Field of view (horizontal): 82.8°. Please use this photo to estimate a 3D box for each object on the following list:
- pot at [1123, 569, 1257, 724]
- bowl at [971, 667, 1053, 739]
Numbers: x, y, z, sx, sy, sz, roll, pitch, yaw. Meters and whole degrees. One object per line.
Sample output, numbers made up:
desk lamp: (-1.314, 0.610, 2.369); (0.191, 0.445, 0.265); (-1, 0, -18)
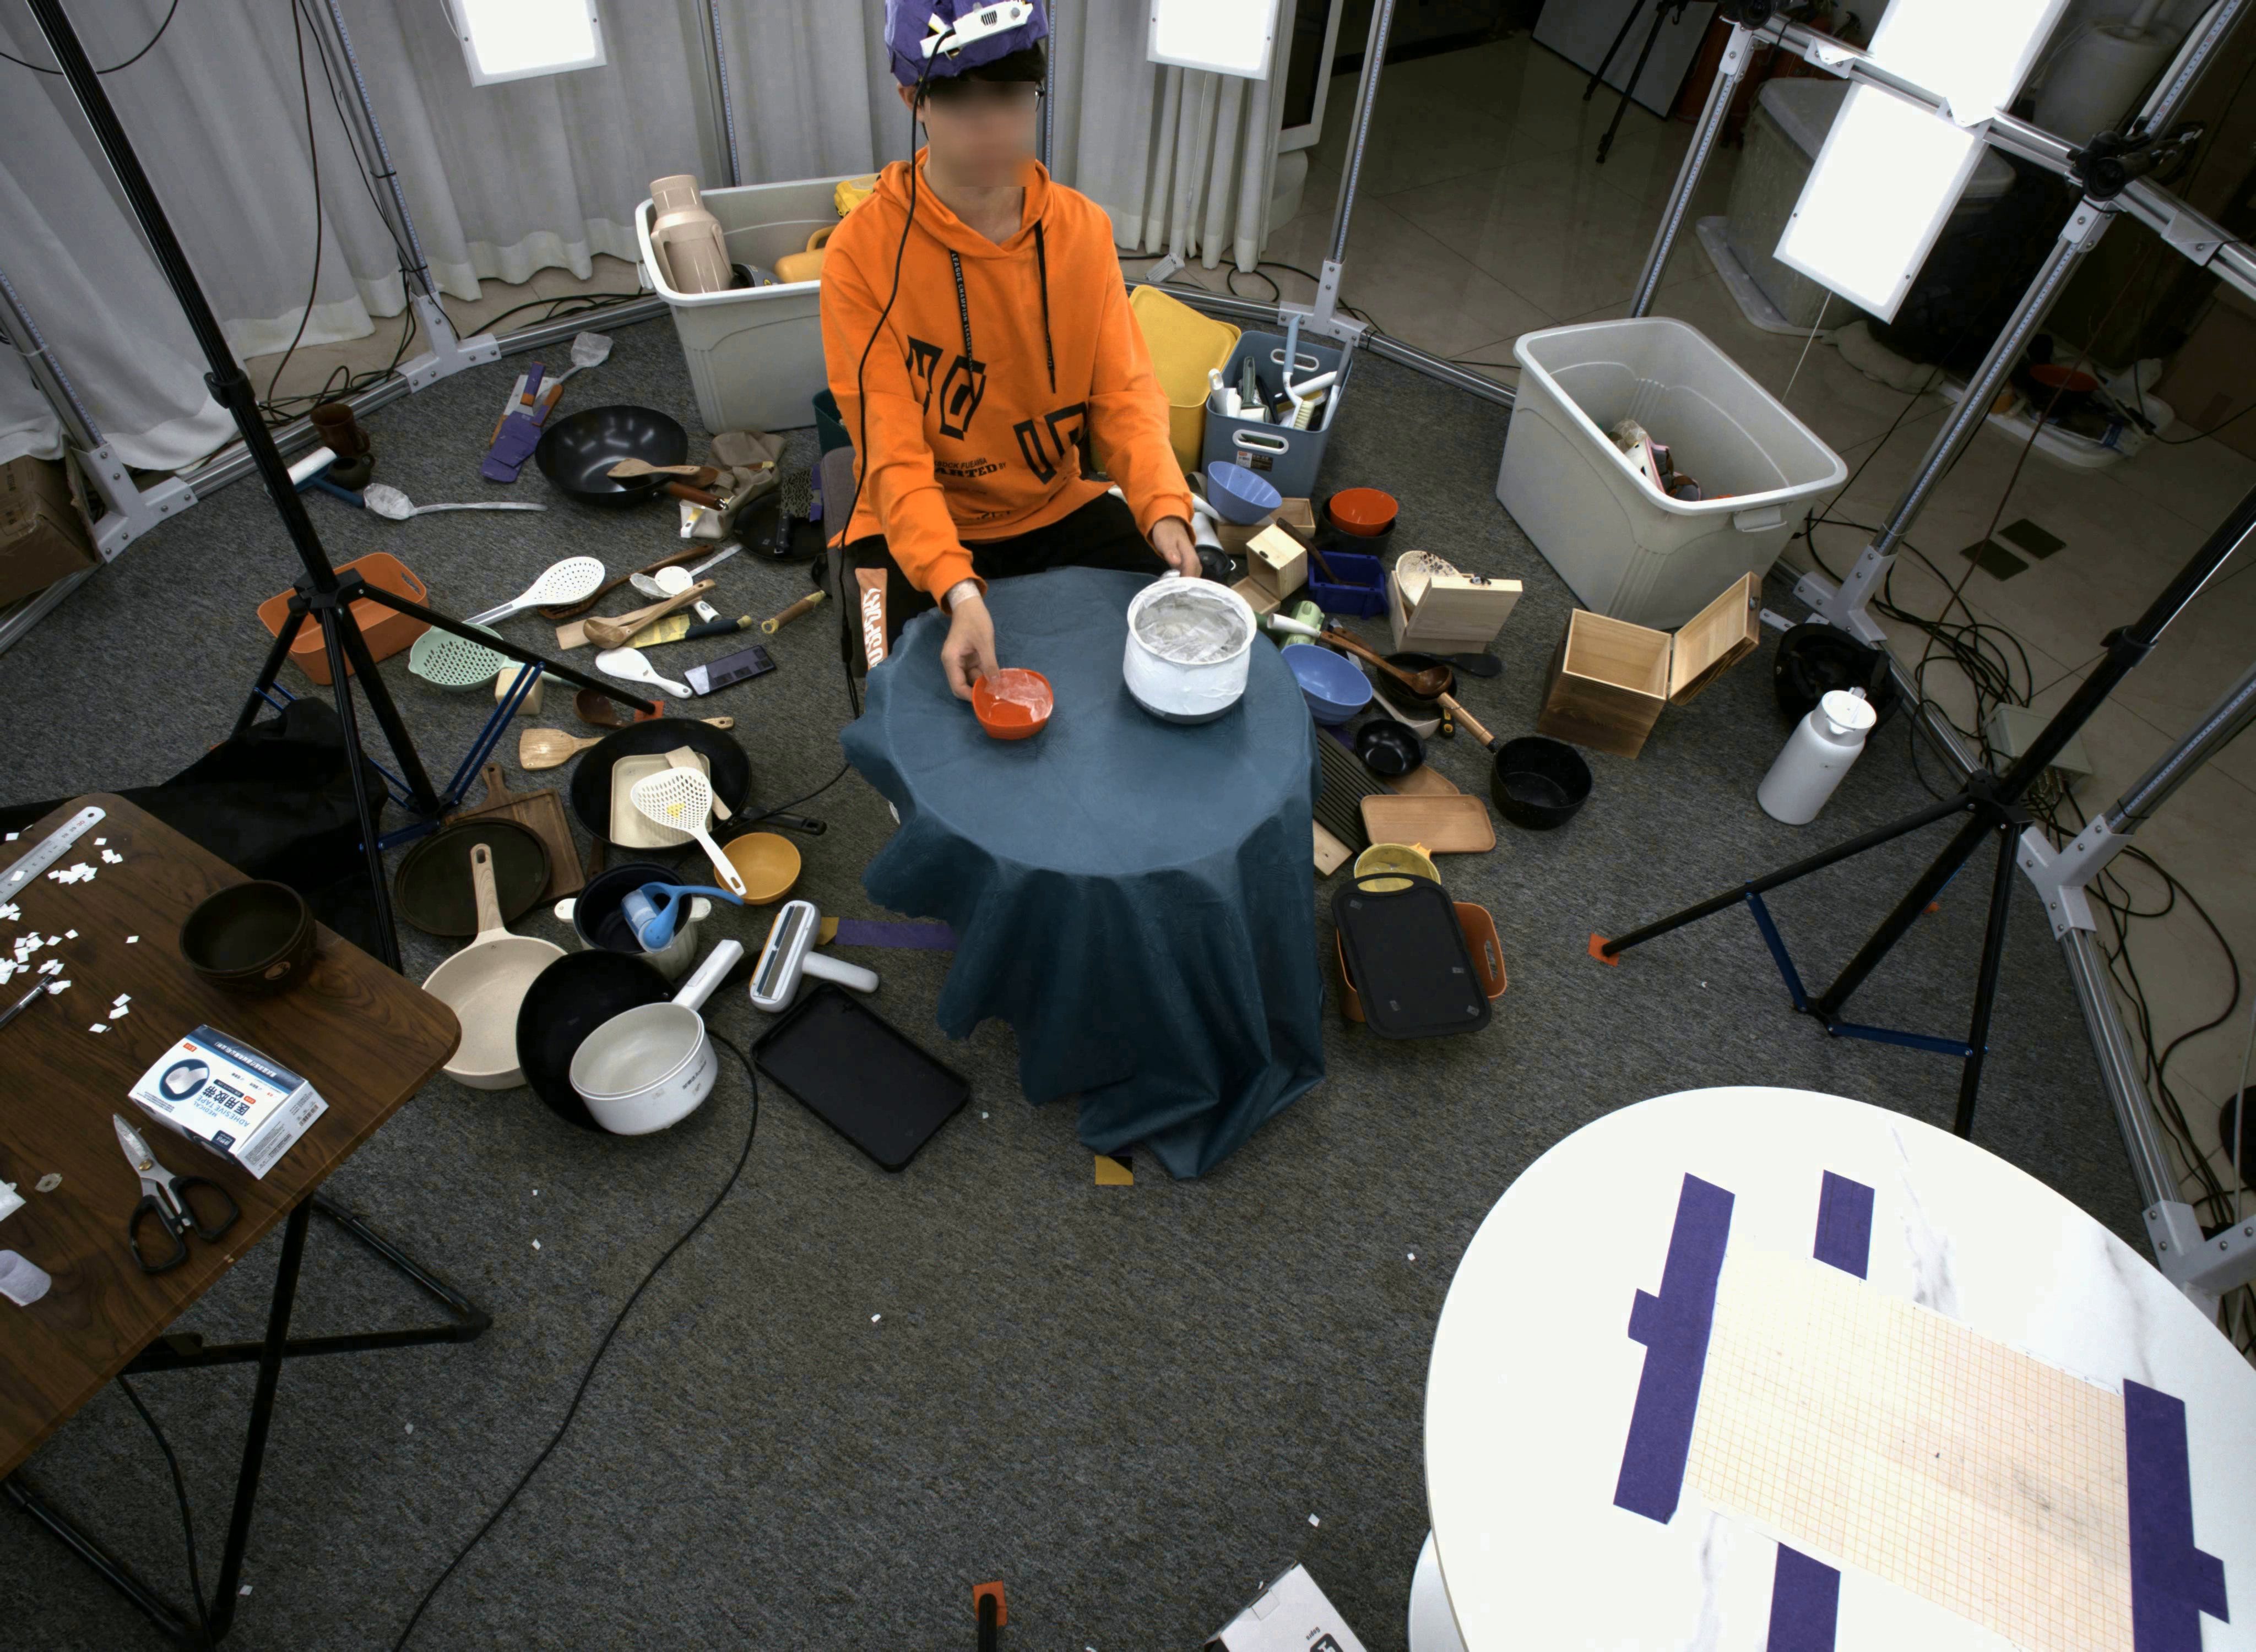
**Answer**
pot: (0.076, -0.262, 1.813); (0.178, 0.133, 0.239); (-9, 51, -12)
bowl: (-0.159, -0.162, 1.765); (0.119, 0.050, 0.122); (1, 51, -2)
